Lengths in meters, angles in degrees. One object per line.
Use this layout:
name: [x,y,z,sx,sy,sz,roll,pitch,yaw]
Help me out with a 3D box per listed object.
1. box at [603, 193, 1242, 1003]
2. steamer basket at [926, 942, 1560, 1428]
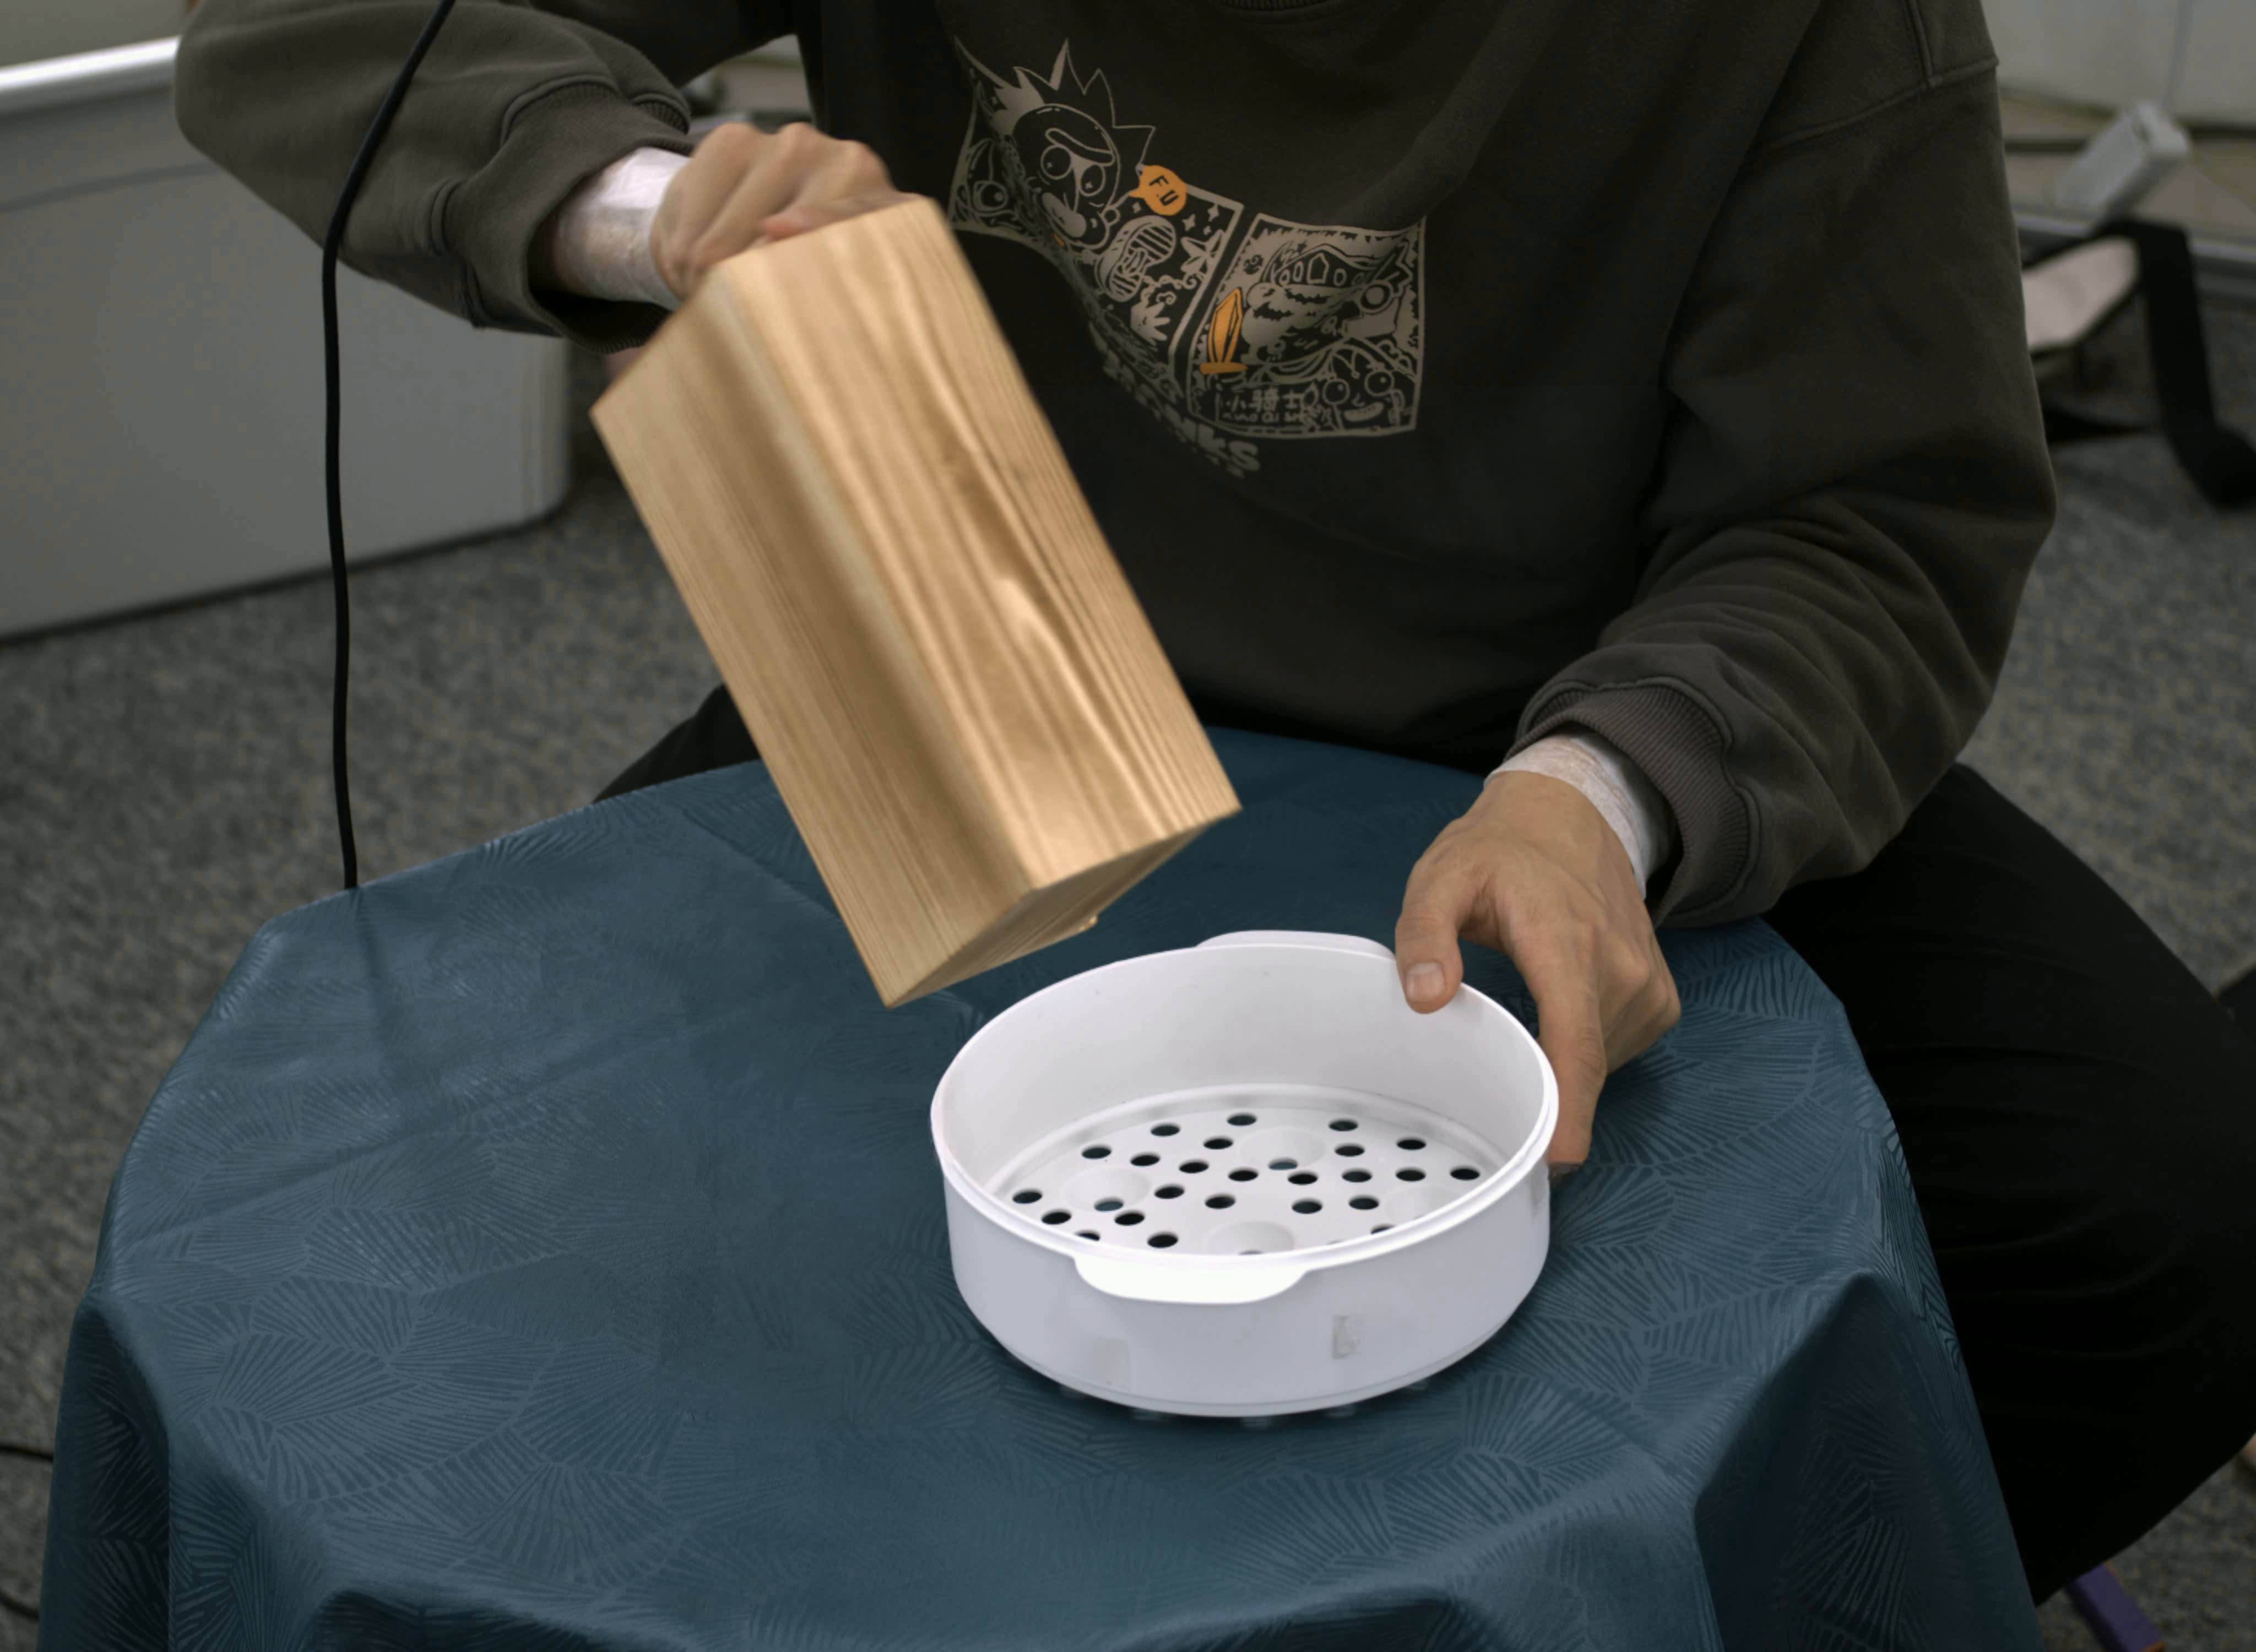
box: [-0.065,-0.069,1.707,0.081,0.213,0.106,-19,-12,-35]
steamer basket: [0.037,0.116,1.795,0.200,0.068,0.234,3,27,11]
